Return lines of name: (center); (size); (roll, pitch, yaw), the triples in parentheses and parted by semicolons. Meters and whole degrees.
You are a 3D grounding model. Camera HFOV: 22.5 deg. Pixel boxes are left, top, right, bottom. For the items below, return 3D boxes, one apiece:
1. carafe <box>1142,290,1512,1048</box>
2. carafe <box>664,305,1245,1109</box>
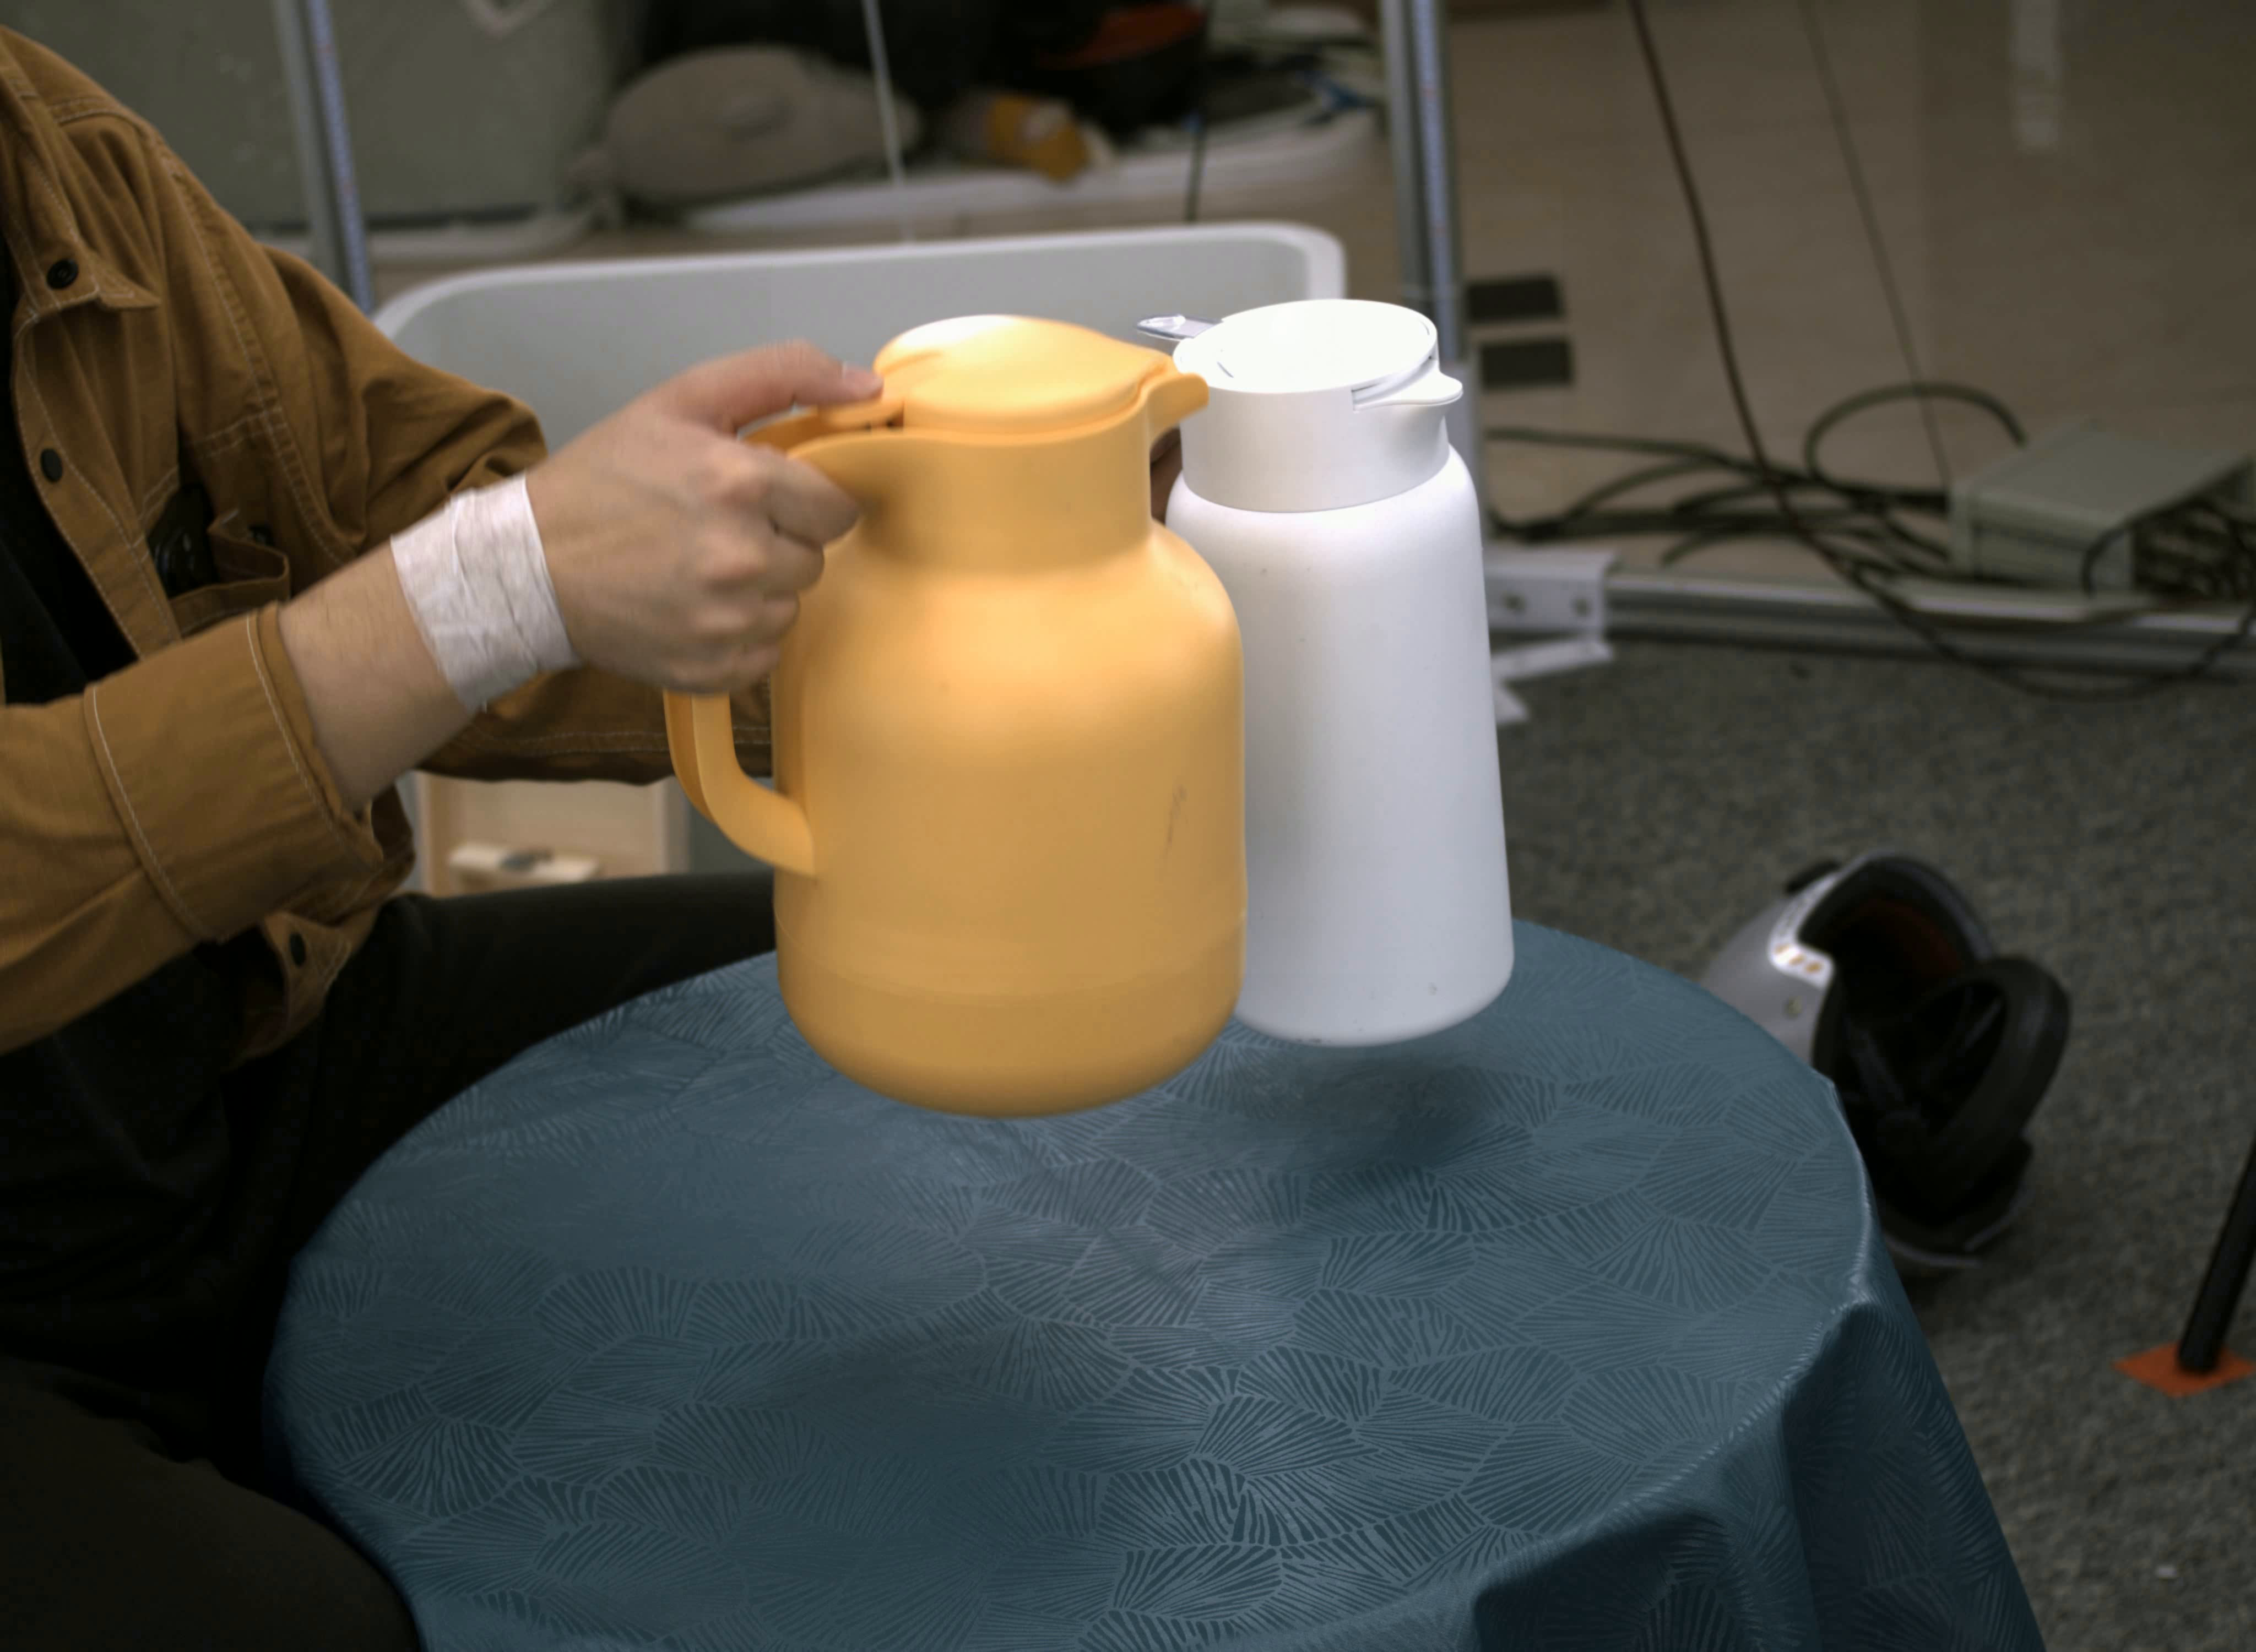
carafe: (0.063, -0.060, 2.130); (0.172, 0.273, 0.122); (13, 34, 36)
carafe: (-0.059, -0.042, 1.909); (0.202, 0.264, 0.161); (-10, 25, -24)
